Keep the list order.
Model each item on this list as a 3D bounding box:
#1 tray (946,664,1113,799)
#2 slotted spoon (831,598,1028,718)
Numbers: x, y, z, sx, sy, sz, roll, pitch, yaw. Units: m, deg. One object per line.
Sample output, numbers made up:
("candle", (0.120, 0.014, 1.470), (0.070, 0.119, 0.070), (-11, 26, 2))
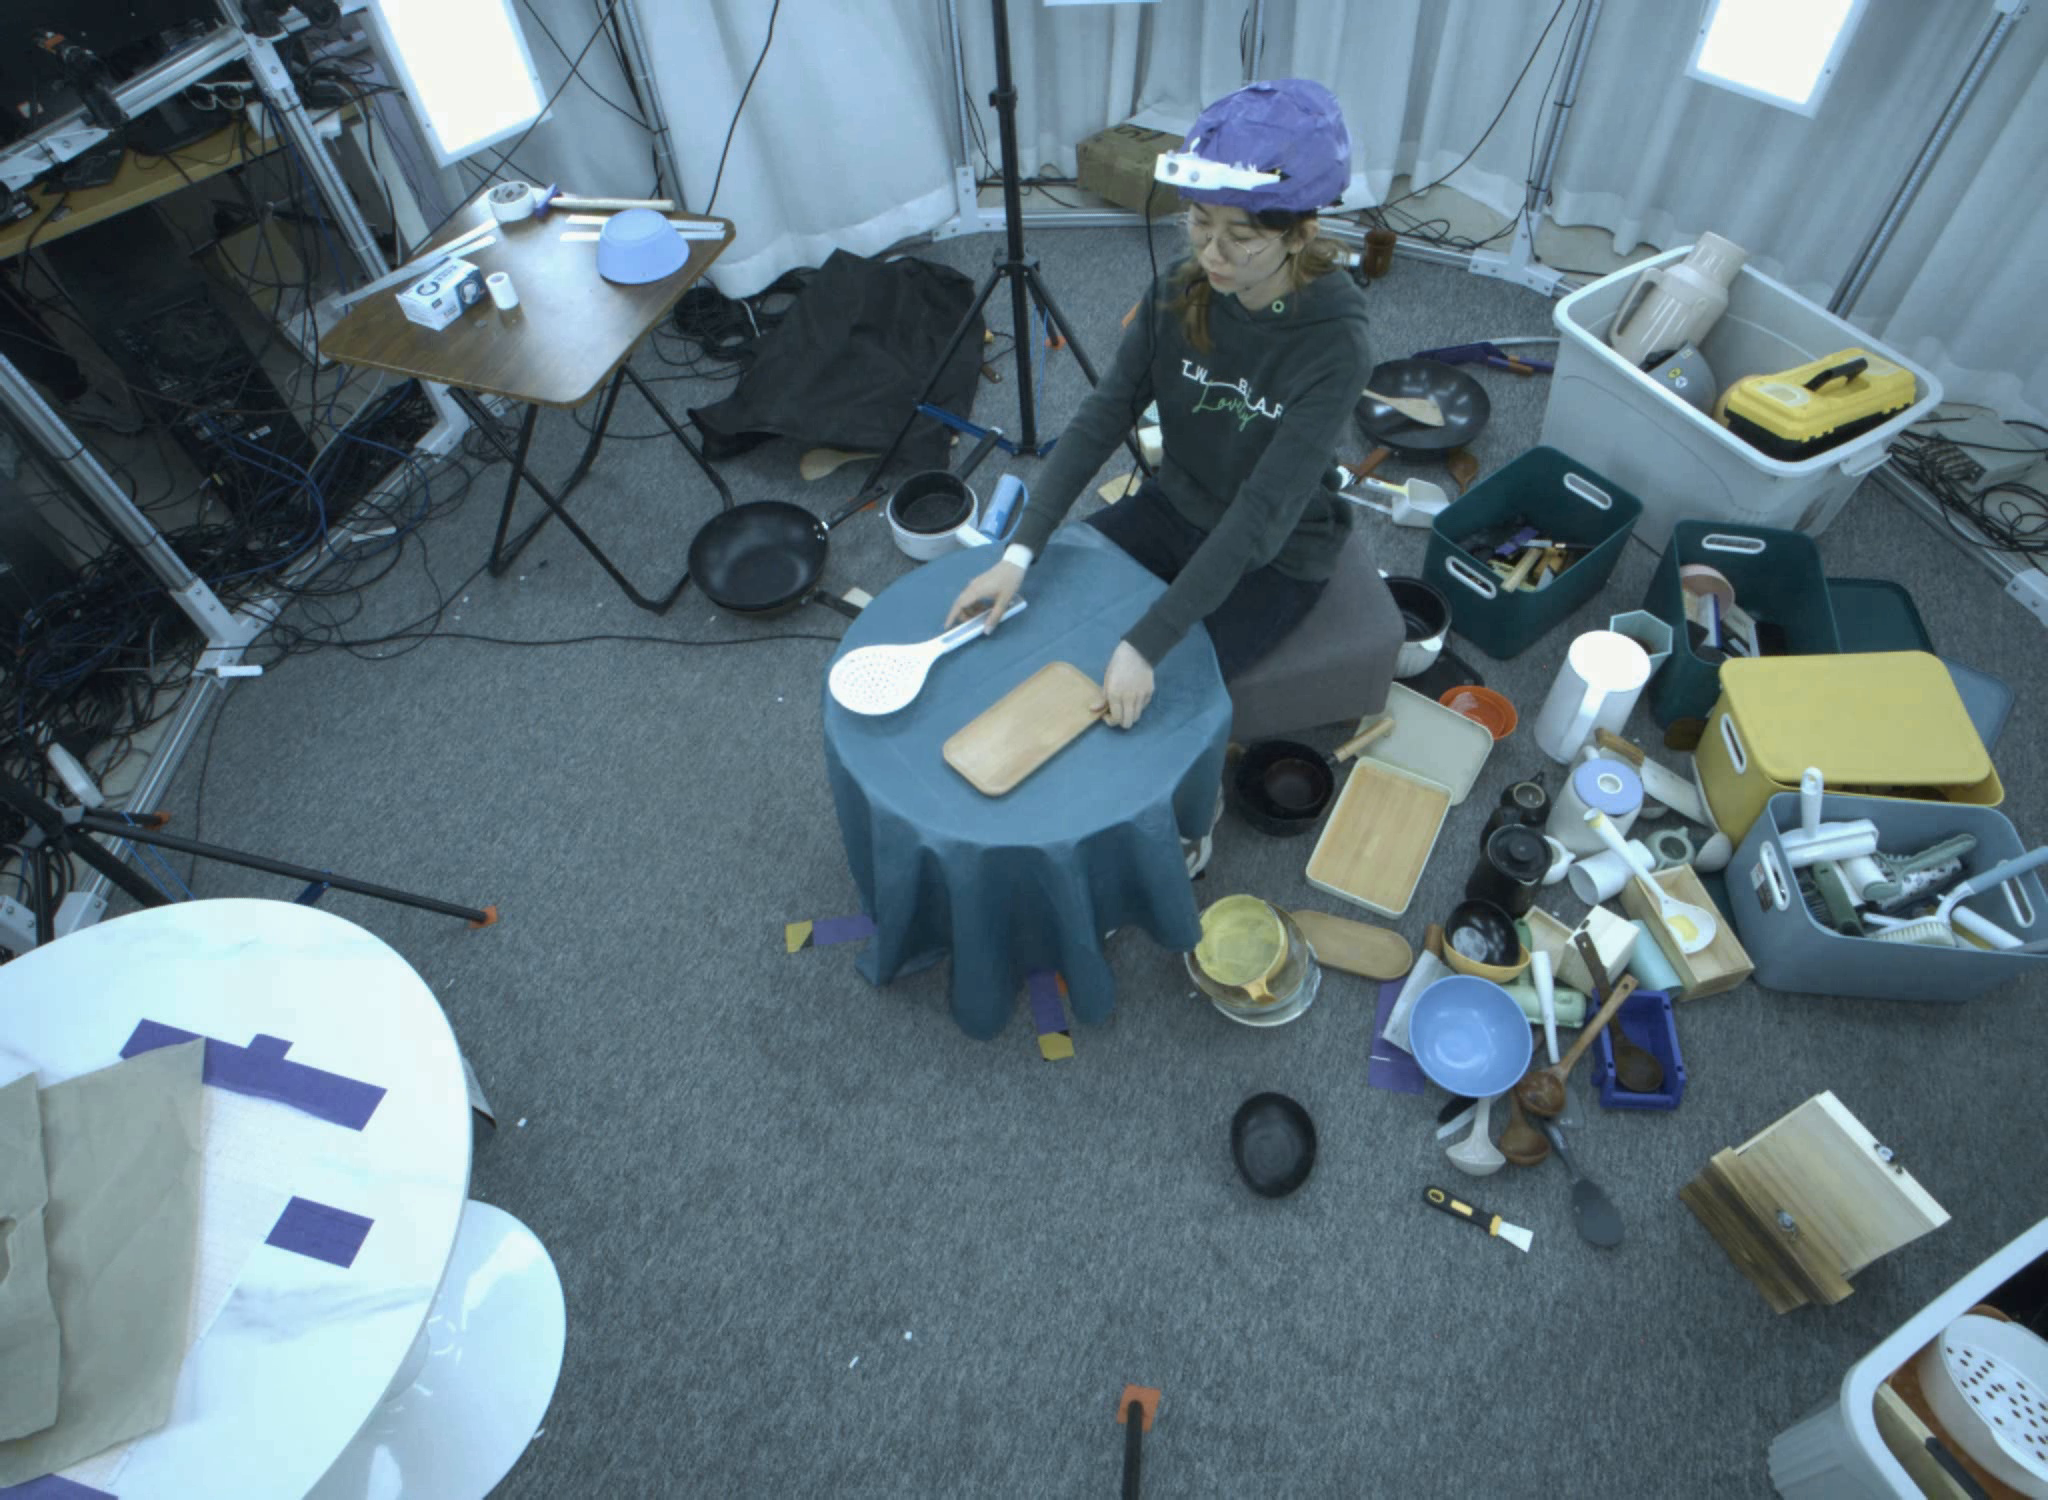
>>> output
("tray", (0.009, -0.030, 1.808), (0.252, 0.023, 0.128), (-38, 64, -23))
("slotted spoon", (-0.136, -0.150, 1.879), (0.352, 0.046, 0.133), (-34, 63, -21))
